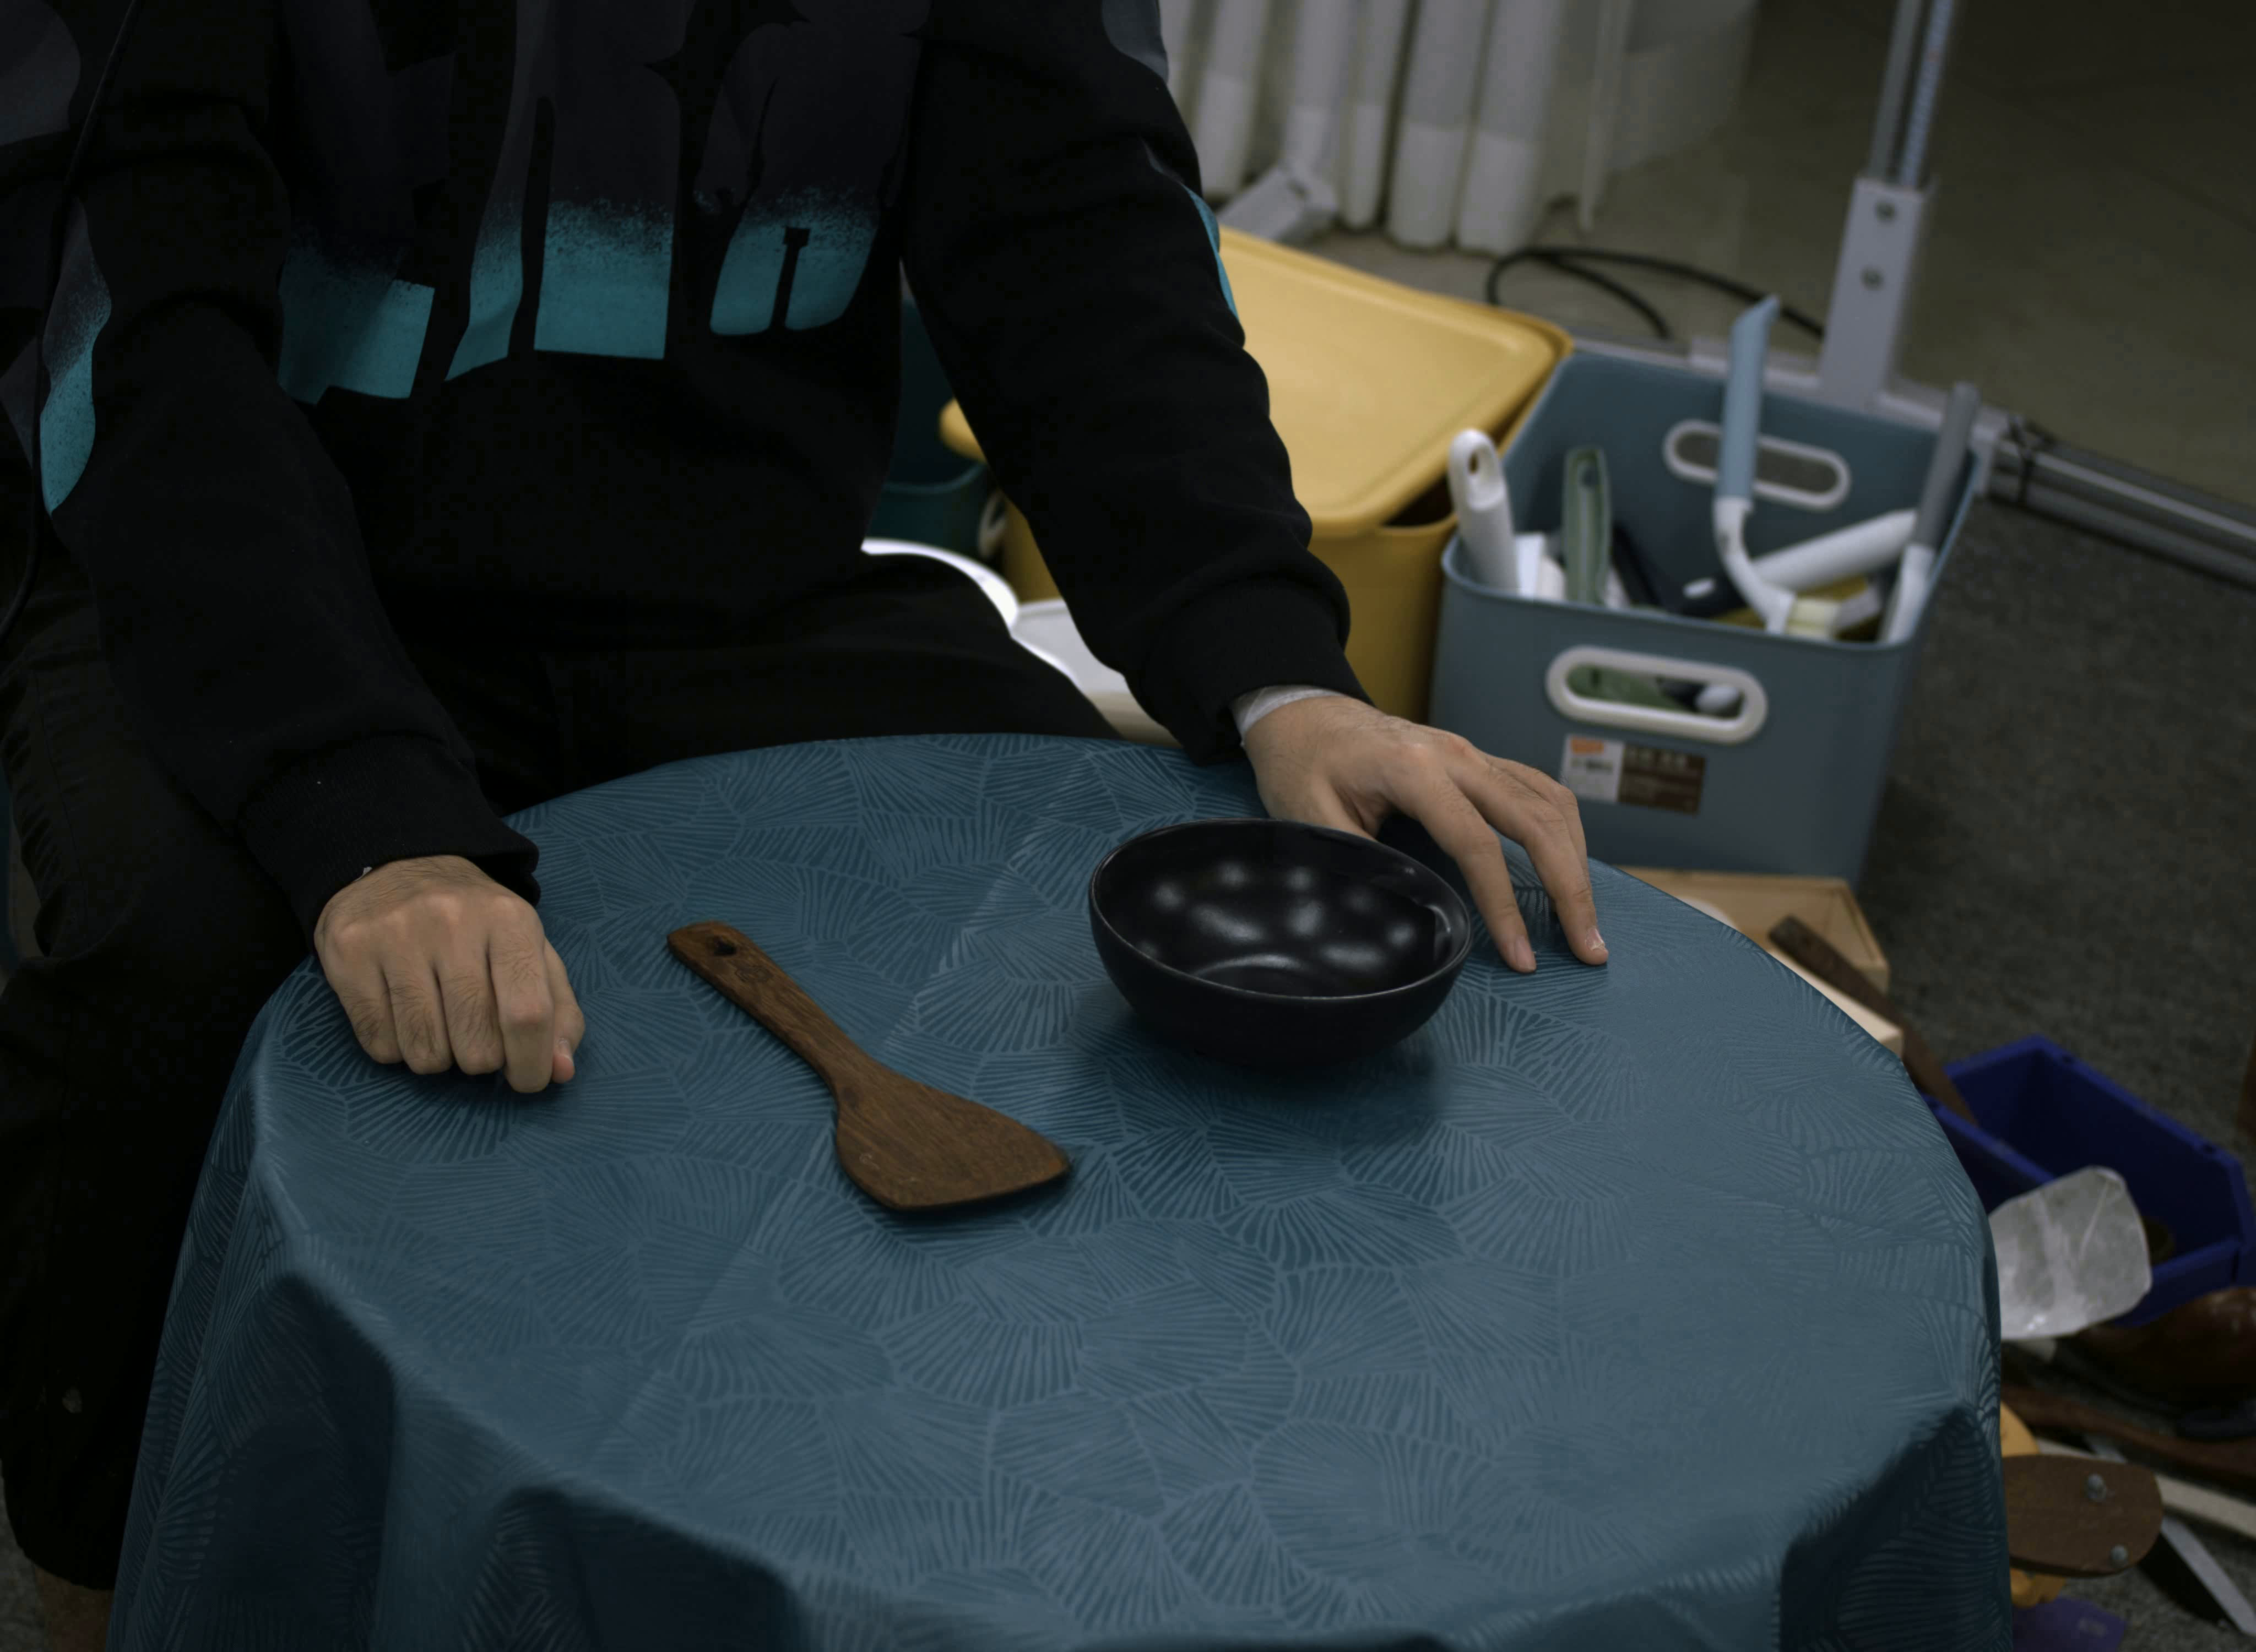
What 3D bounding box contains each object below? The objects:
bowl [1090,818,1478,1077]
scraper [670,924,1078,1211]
[{"bbox_3d":[0.054,0.051,1.904,0.139,0.049,0.141,3,28,-2],"label":"bowl"},{"bbox_3d":[-0.100,0.082,1.851,0.075,0.011,0.213,-10,30,-32],"label":"scraper"}]
